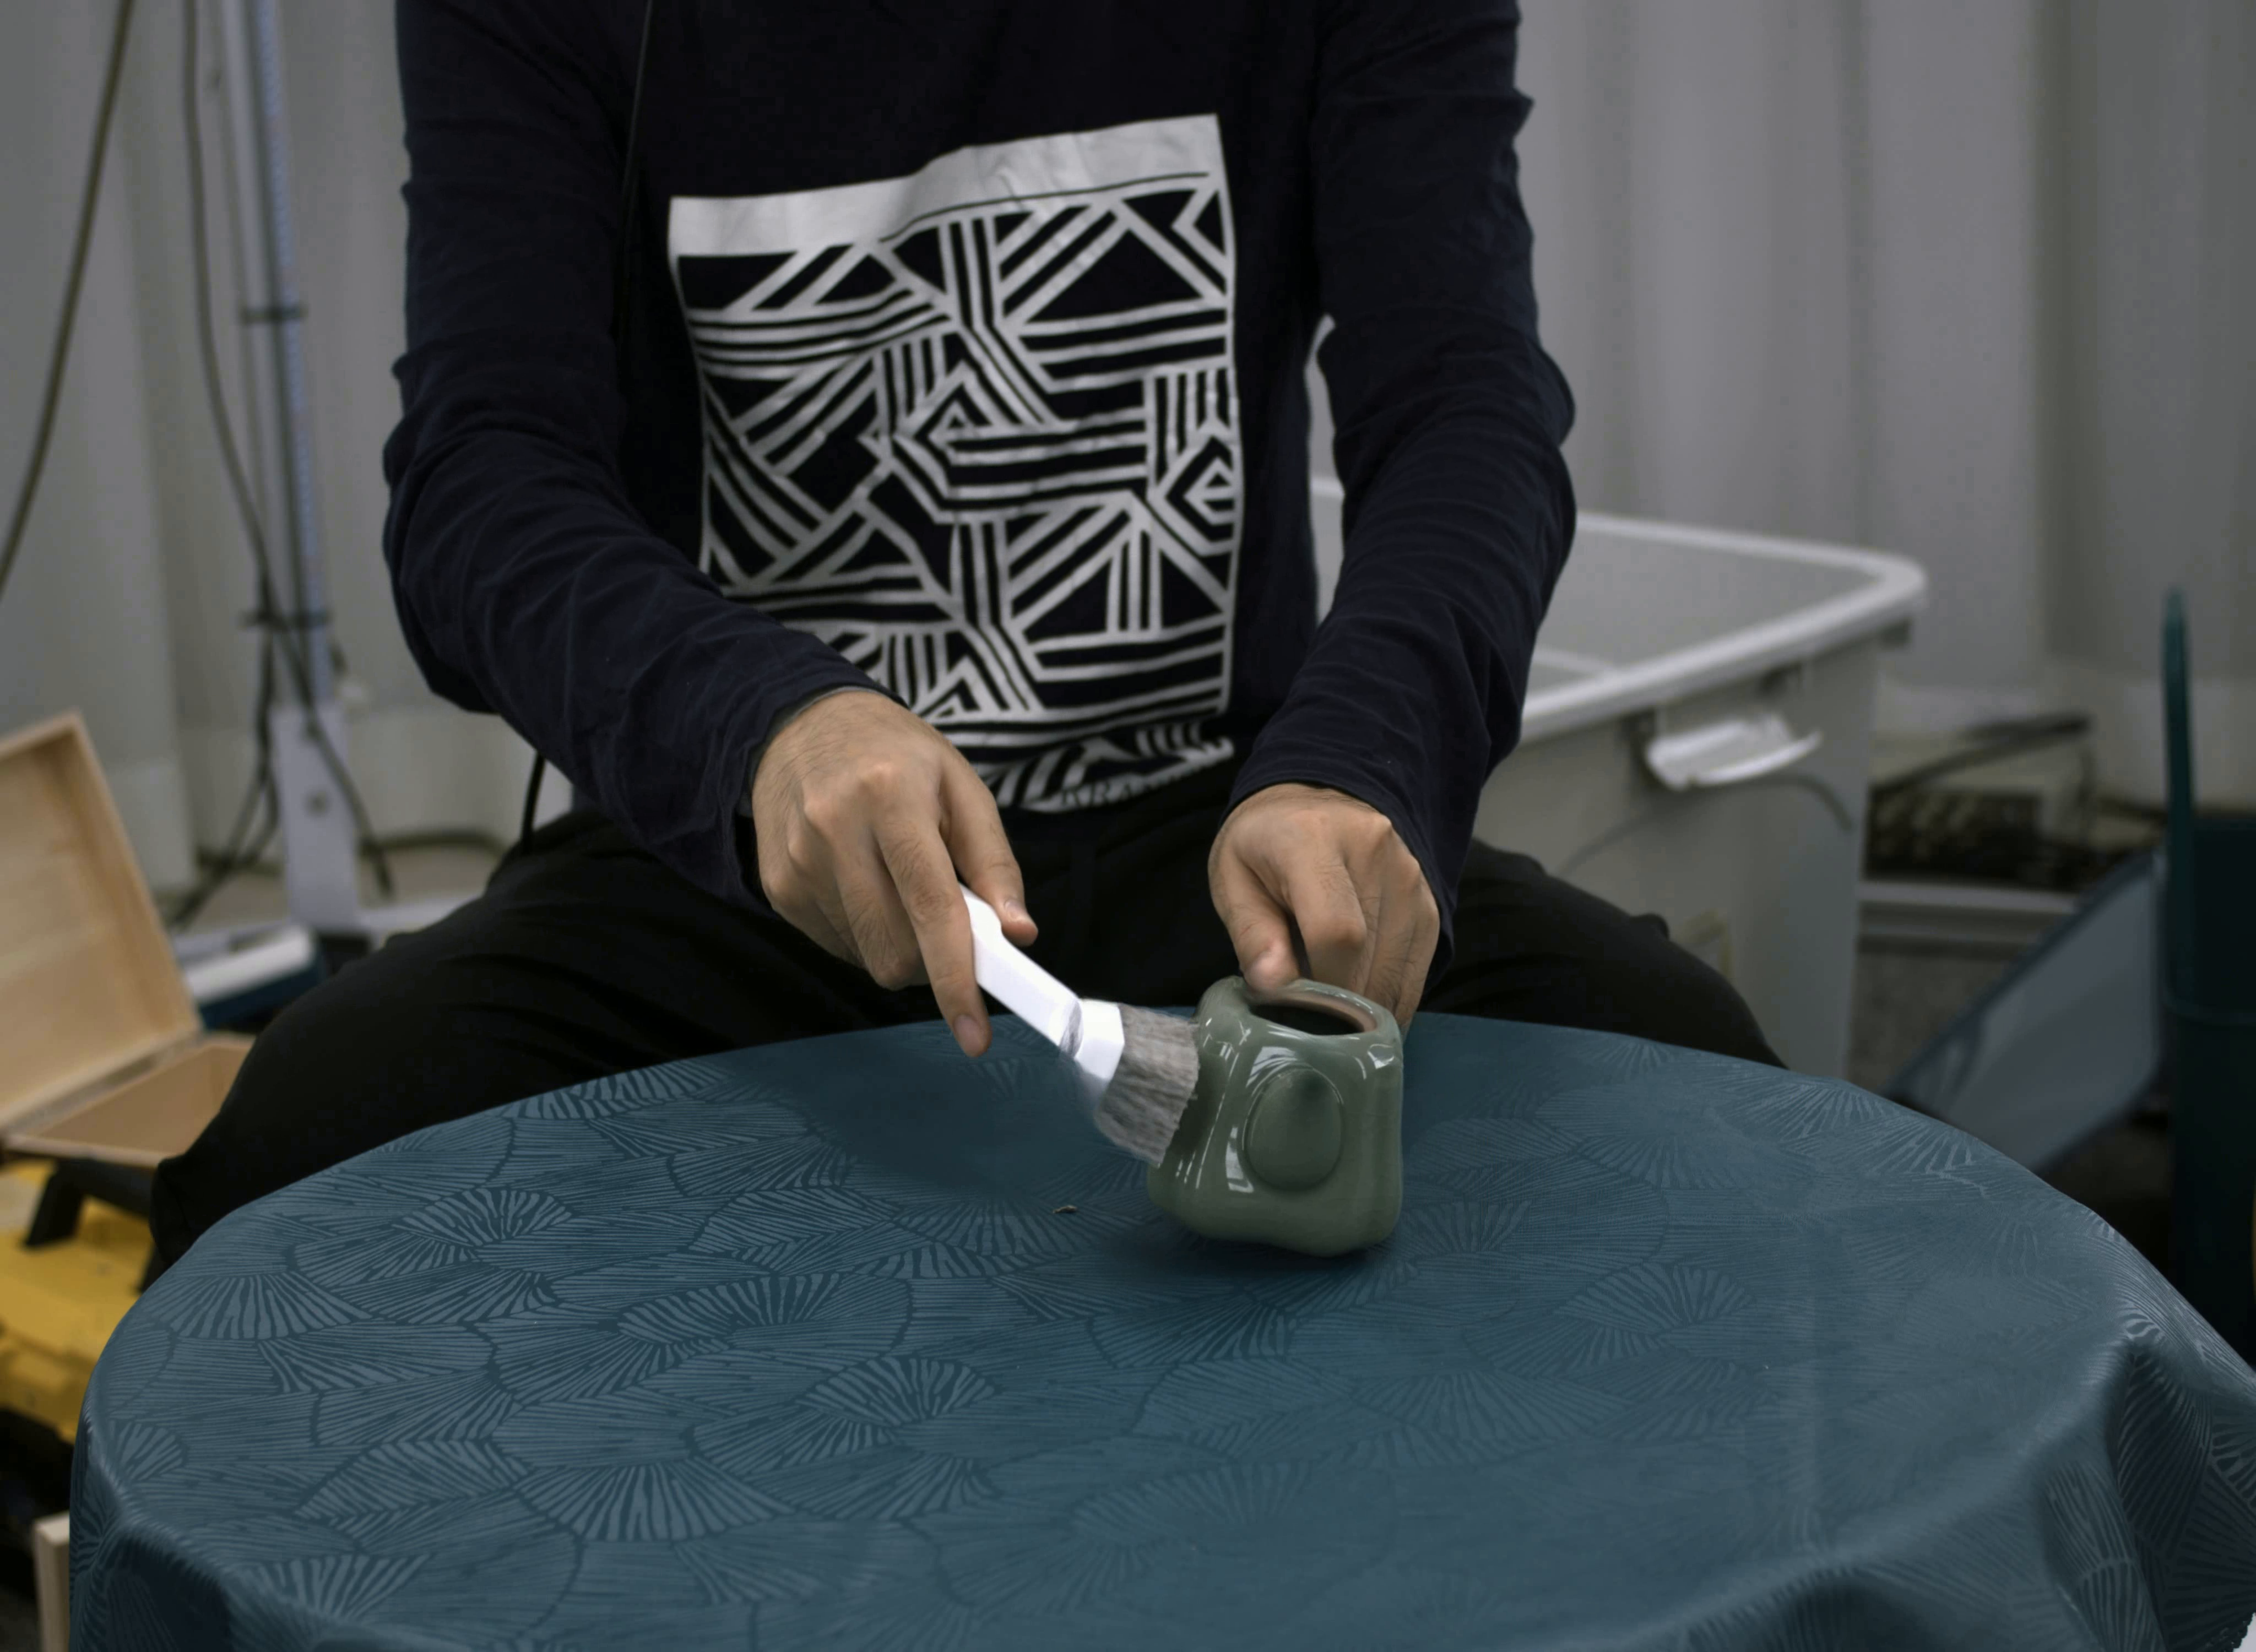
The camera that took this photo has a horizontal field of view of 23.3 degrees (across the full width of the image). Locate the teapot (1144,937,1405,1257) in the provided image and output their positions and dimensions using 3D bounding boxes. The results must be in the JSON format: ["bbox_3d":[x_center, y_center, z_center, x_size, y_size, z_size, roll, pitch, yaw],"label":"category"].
[{"bbox_3d":[0.048,0.085,1.658,0.079,0.075,0.133,10,15,-4],"label":"teapot"}]

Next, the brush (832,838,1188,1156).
[{"bbox_3d":[-0.035,0.050,1.715,0.050,0.034,0.246,11,11,-24],"label":"brush"}]
